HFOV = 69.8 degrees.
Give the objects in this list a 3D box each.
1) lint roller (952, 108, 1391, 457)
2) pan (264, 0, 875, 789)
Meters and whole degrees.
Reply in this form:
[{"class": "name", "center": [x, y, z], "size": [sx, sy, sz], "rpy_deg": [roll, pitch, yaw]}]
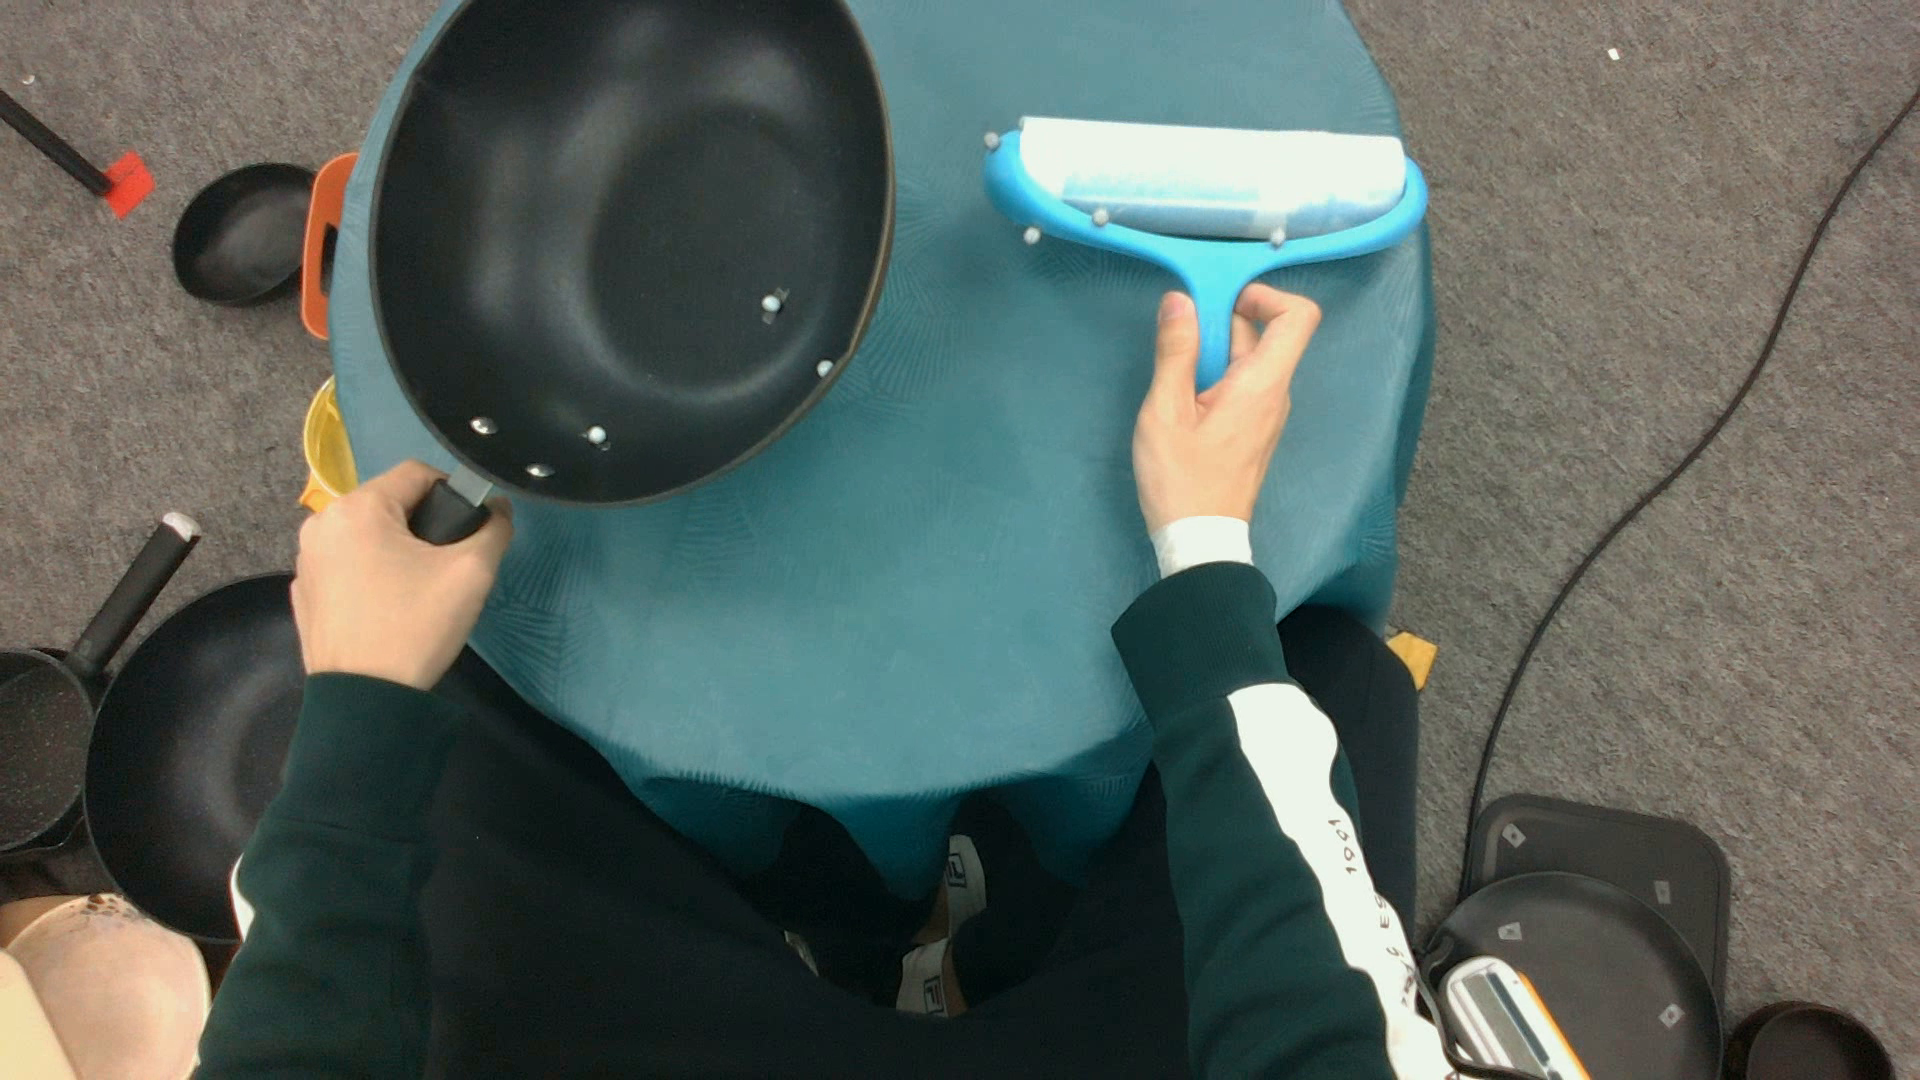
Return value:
[{"class": "lint roller", "center": [0.114, -0.137, 0.705], "size": [0.229, 0.068, 0.180], "rpy_deg": [-2, 79, -7]}, {"class": "pan", "center": [-0.201, -0.073, 0.672], "size": [0.288, 0.087, 0.462], "rpy_deg": [34, 99, 20]}]
